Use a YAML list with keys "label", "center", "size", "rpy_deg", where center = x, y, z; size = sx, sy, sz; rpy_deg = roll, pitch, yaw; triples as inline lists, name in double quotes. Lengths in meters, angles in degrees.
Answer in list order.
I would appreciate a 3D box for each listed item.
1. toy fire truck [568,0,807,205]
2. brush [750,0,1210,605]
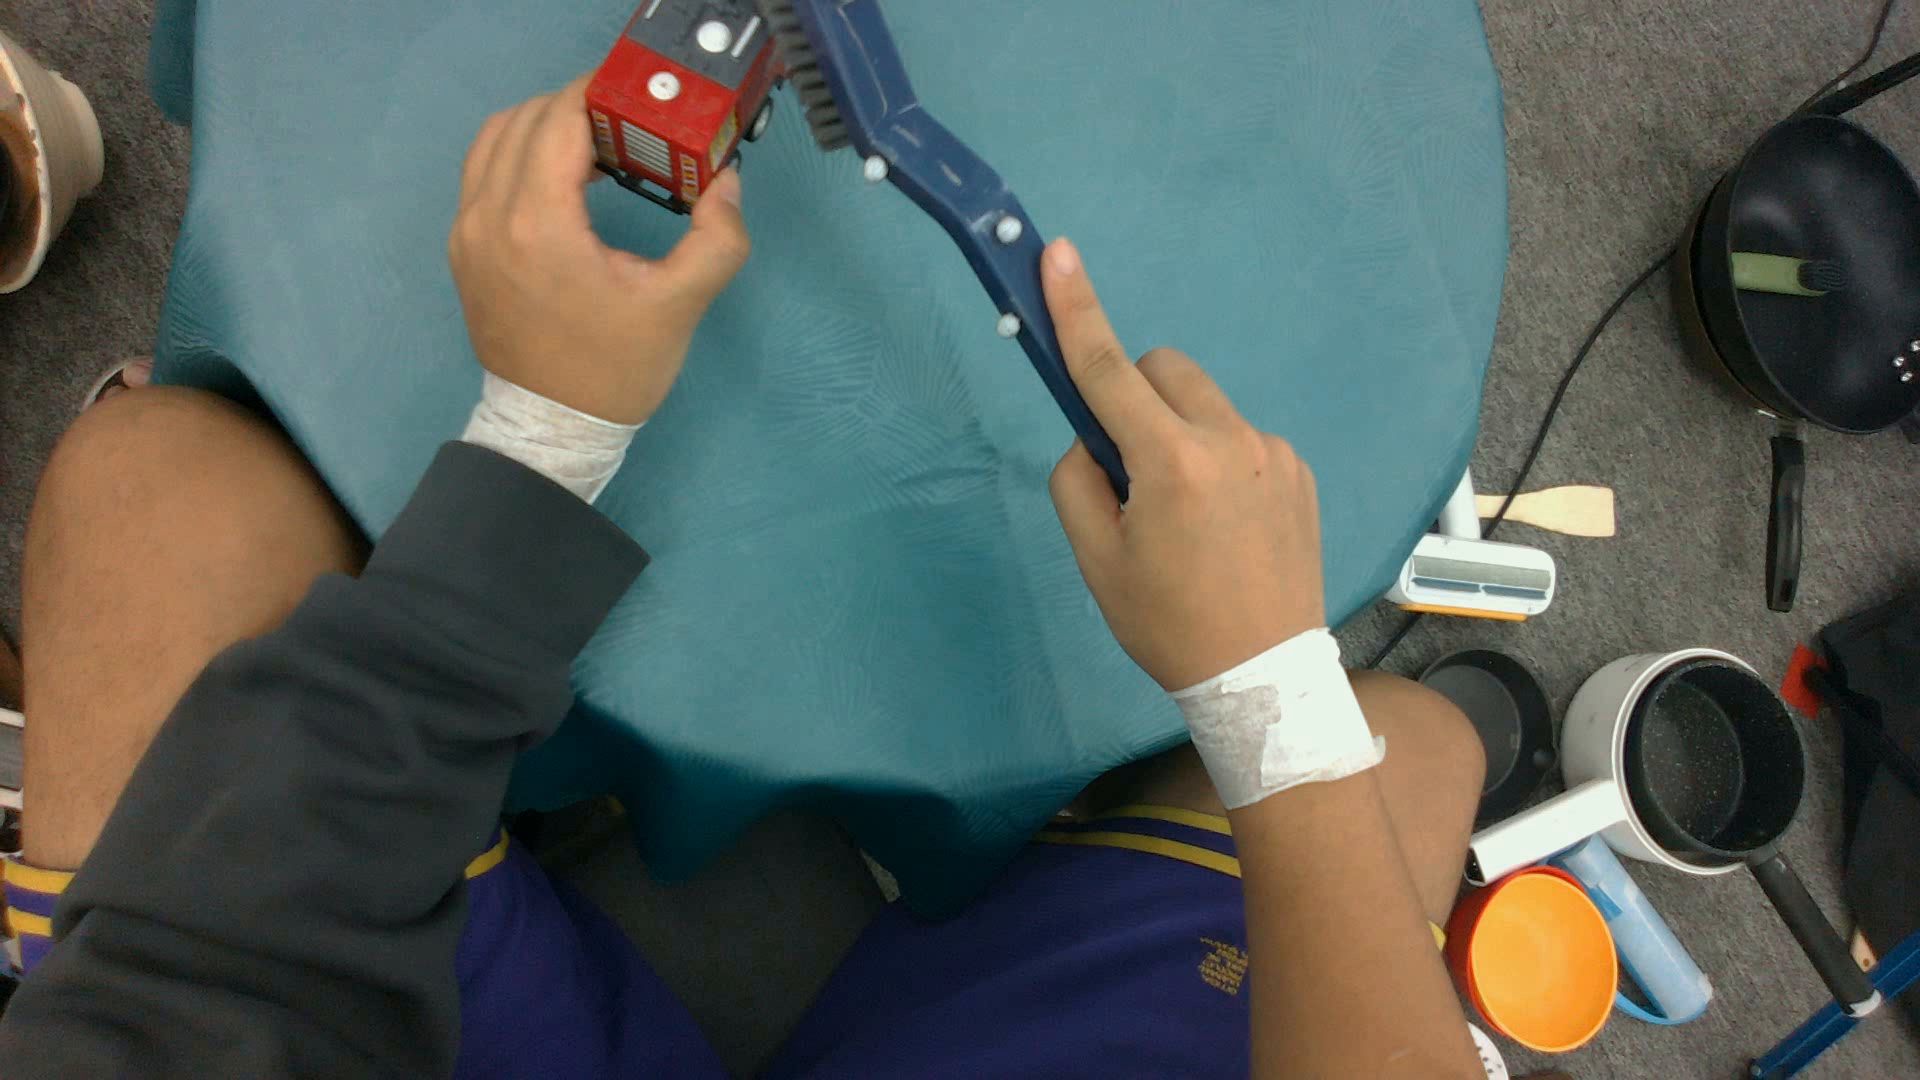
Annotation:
- label: "toy fire truck"
  center: [-0.084, -0.205, 0.500]
  size: [0.054, 0.070, 0.168]
  rpy_deg: [24, 75, -1]
- label: "brush"
  center: [0.014, -0.098, 0.460]
  size: [0.273, 0.095, 0.033]
  rpy_deg: [51, 55, -7]
